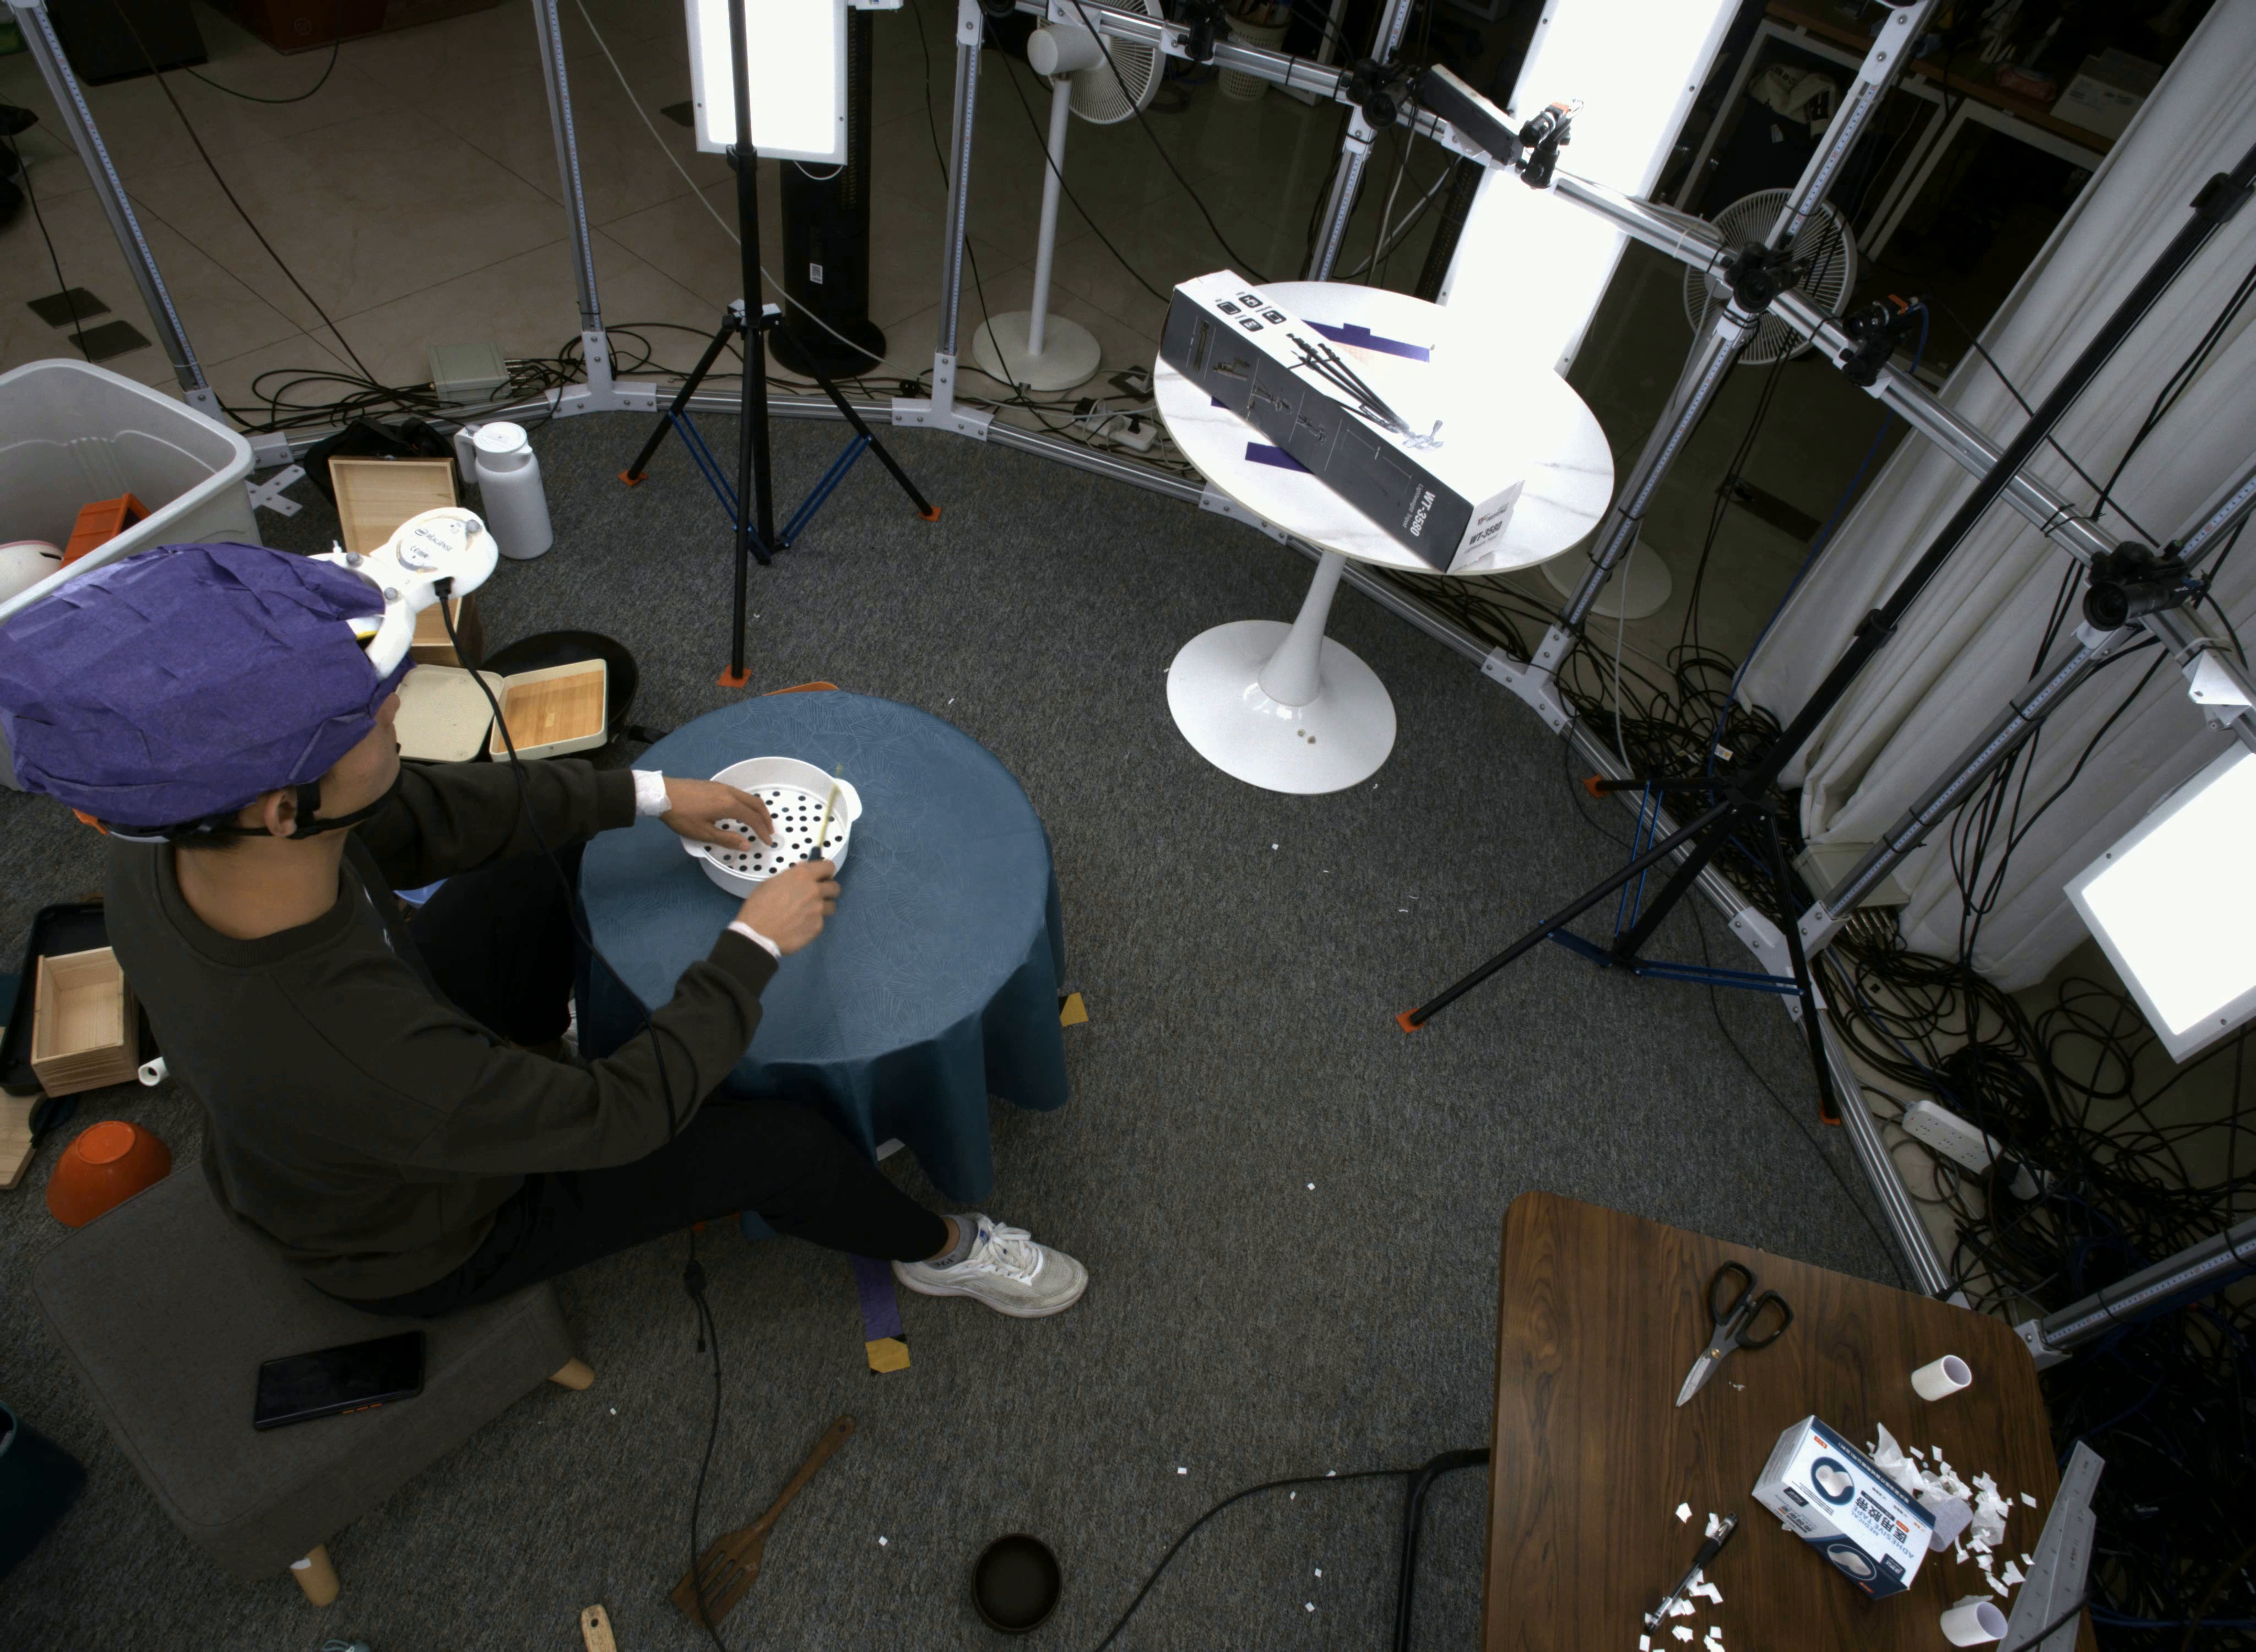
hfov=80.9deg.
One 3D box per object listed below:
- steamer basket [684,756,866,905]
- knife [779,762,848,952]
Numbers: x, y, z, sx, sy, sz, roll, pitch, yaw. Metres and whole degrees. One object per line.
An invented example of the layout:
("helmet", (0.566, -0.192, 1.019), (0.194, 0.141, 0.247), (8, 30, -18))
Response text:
("steamer basket", (-0.454, 0.004, 1.681), (0.231, 0.071, 0.197), (-15, 58, -22))
("knife", (-0.372, 0.034, 1.557), (0.027, 0.082, 0.285), (11, 52, -4))
